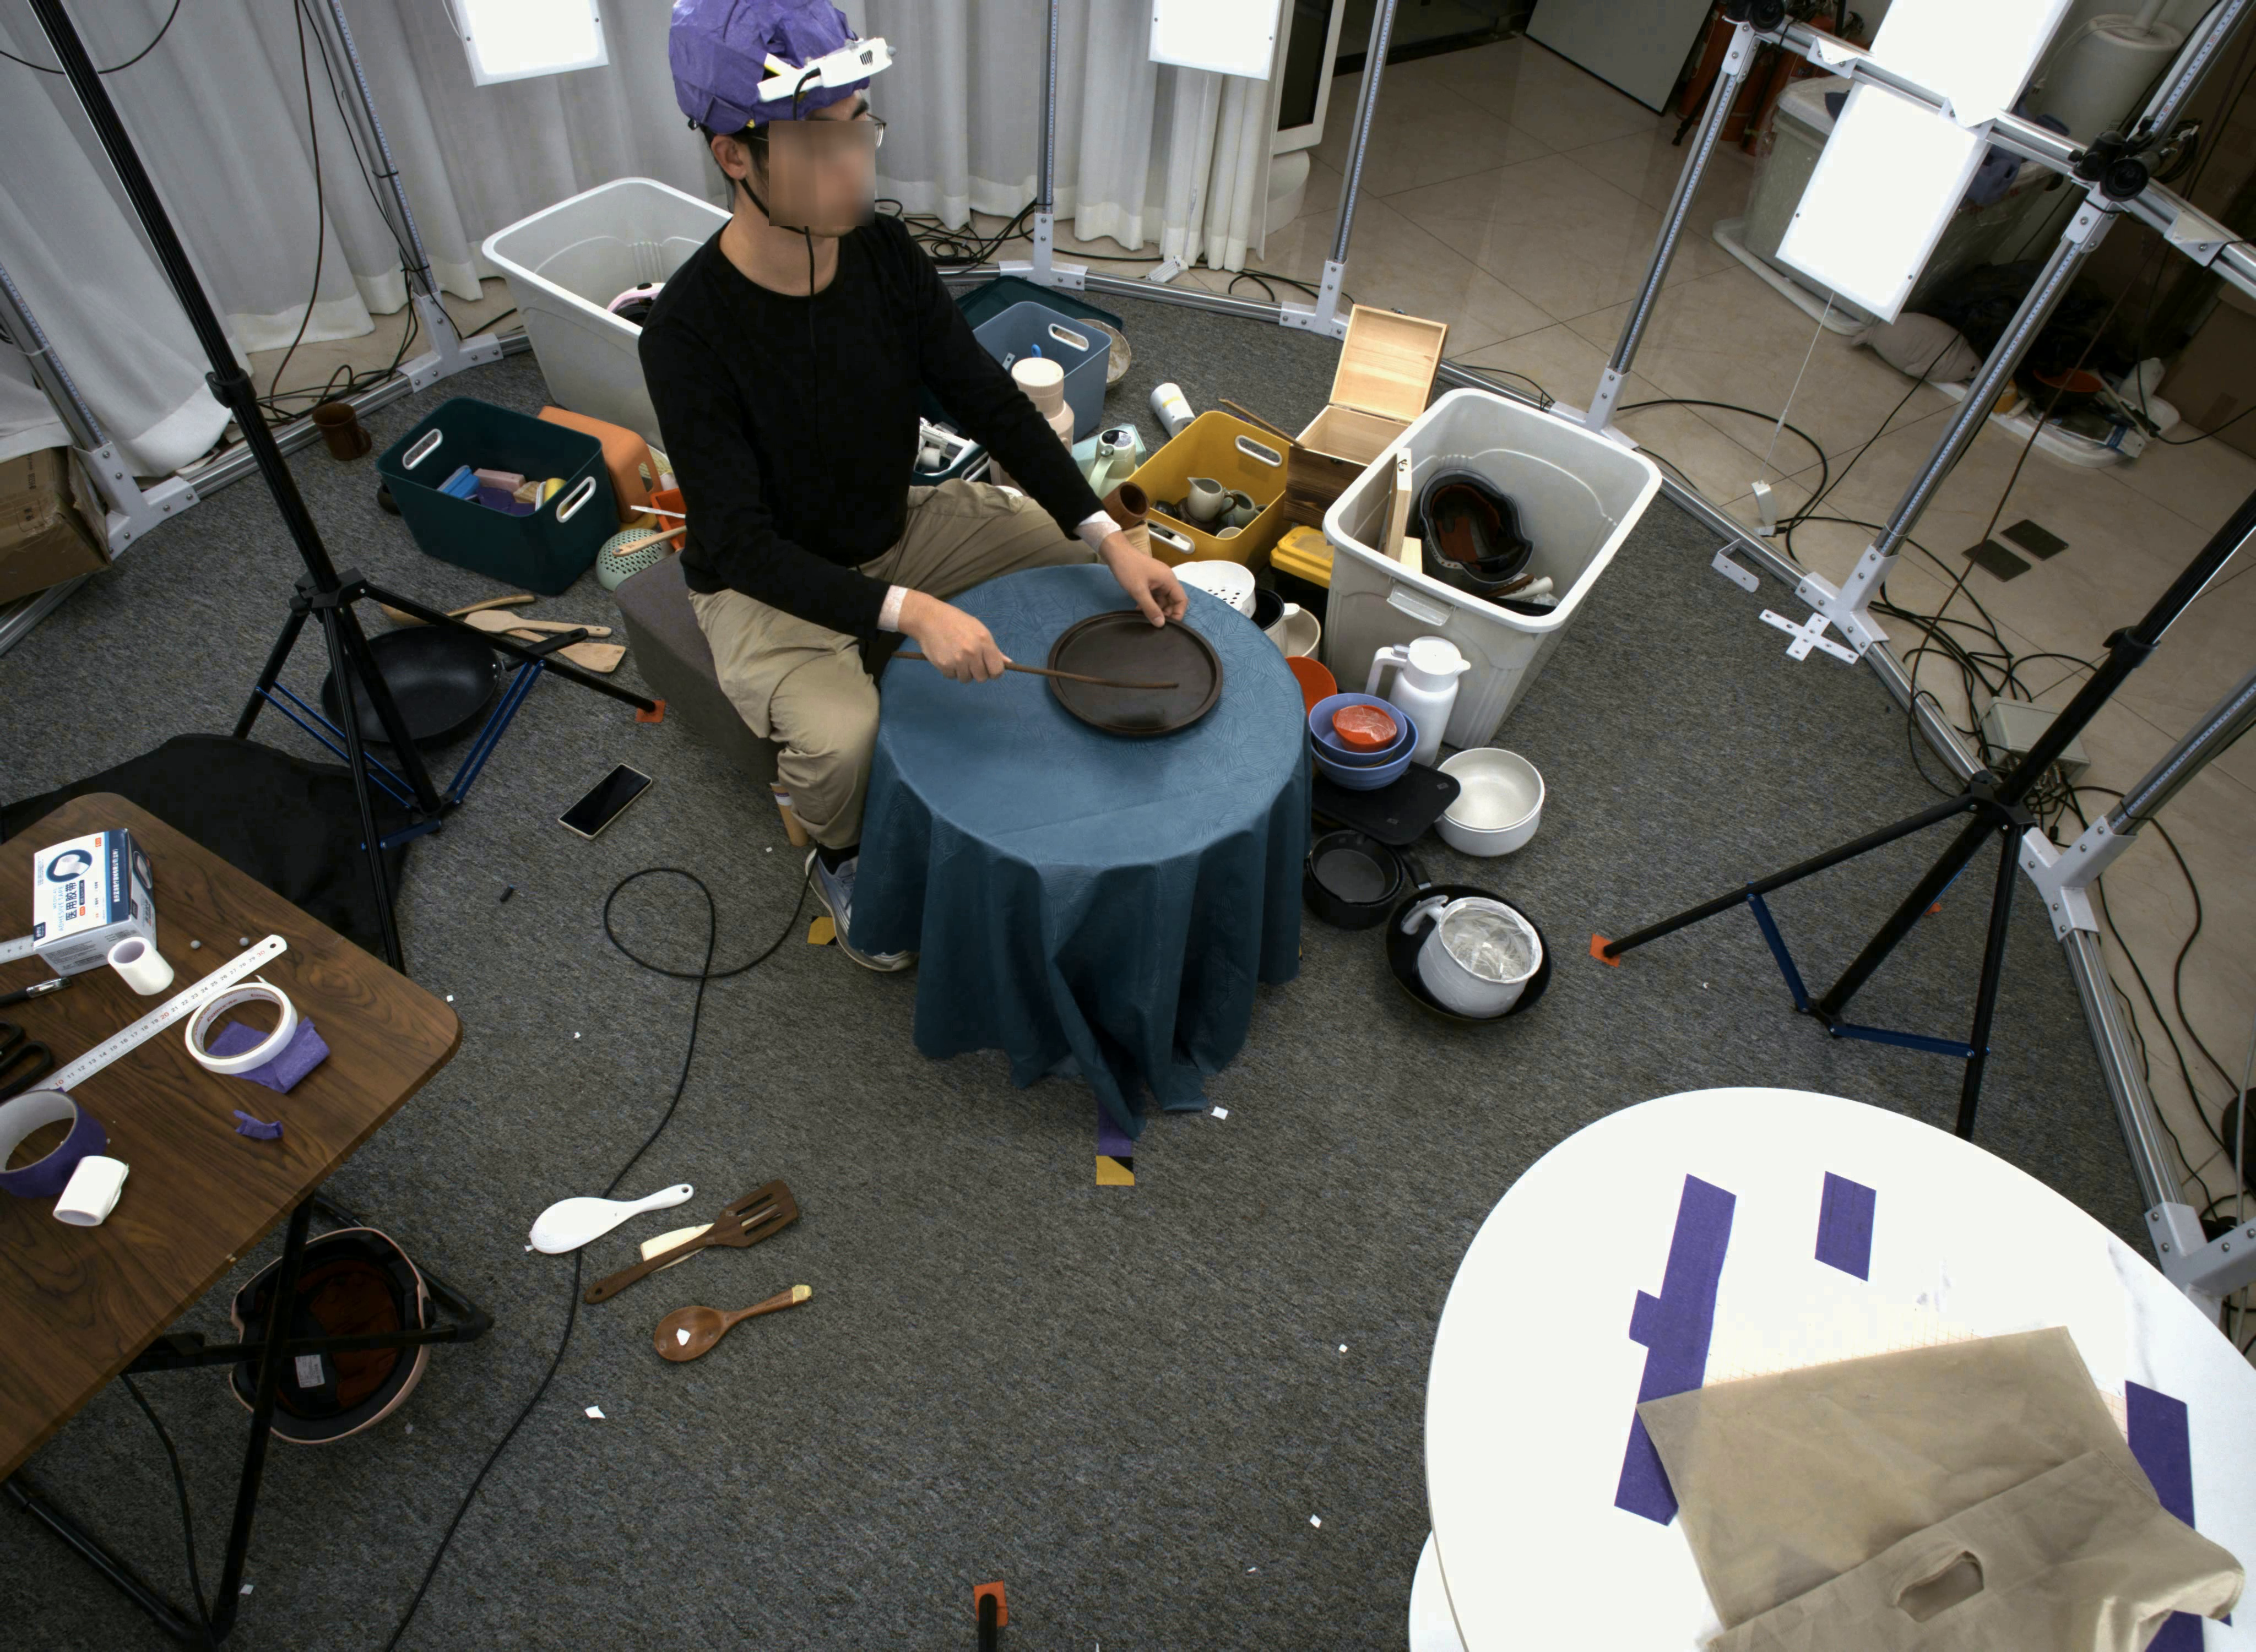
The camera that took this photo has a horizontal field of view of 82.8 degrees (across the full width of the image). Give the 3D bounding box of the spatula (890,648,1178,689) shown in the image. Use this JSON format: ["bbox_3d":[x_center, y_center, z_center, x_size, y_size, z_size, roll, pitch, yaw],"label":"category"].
[{"bbox_3d":[-0.124,-0.210,1.724,0.385,0.016,0.096,7,4,-6],"label":"spatula"}]

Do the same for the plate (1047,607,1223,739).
[{"bbox_3d":[0.010,-0.219,1.844,0.254,0.028,0.261,1,50,-2],"label":"plate"}]
